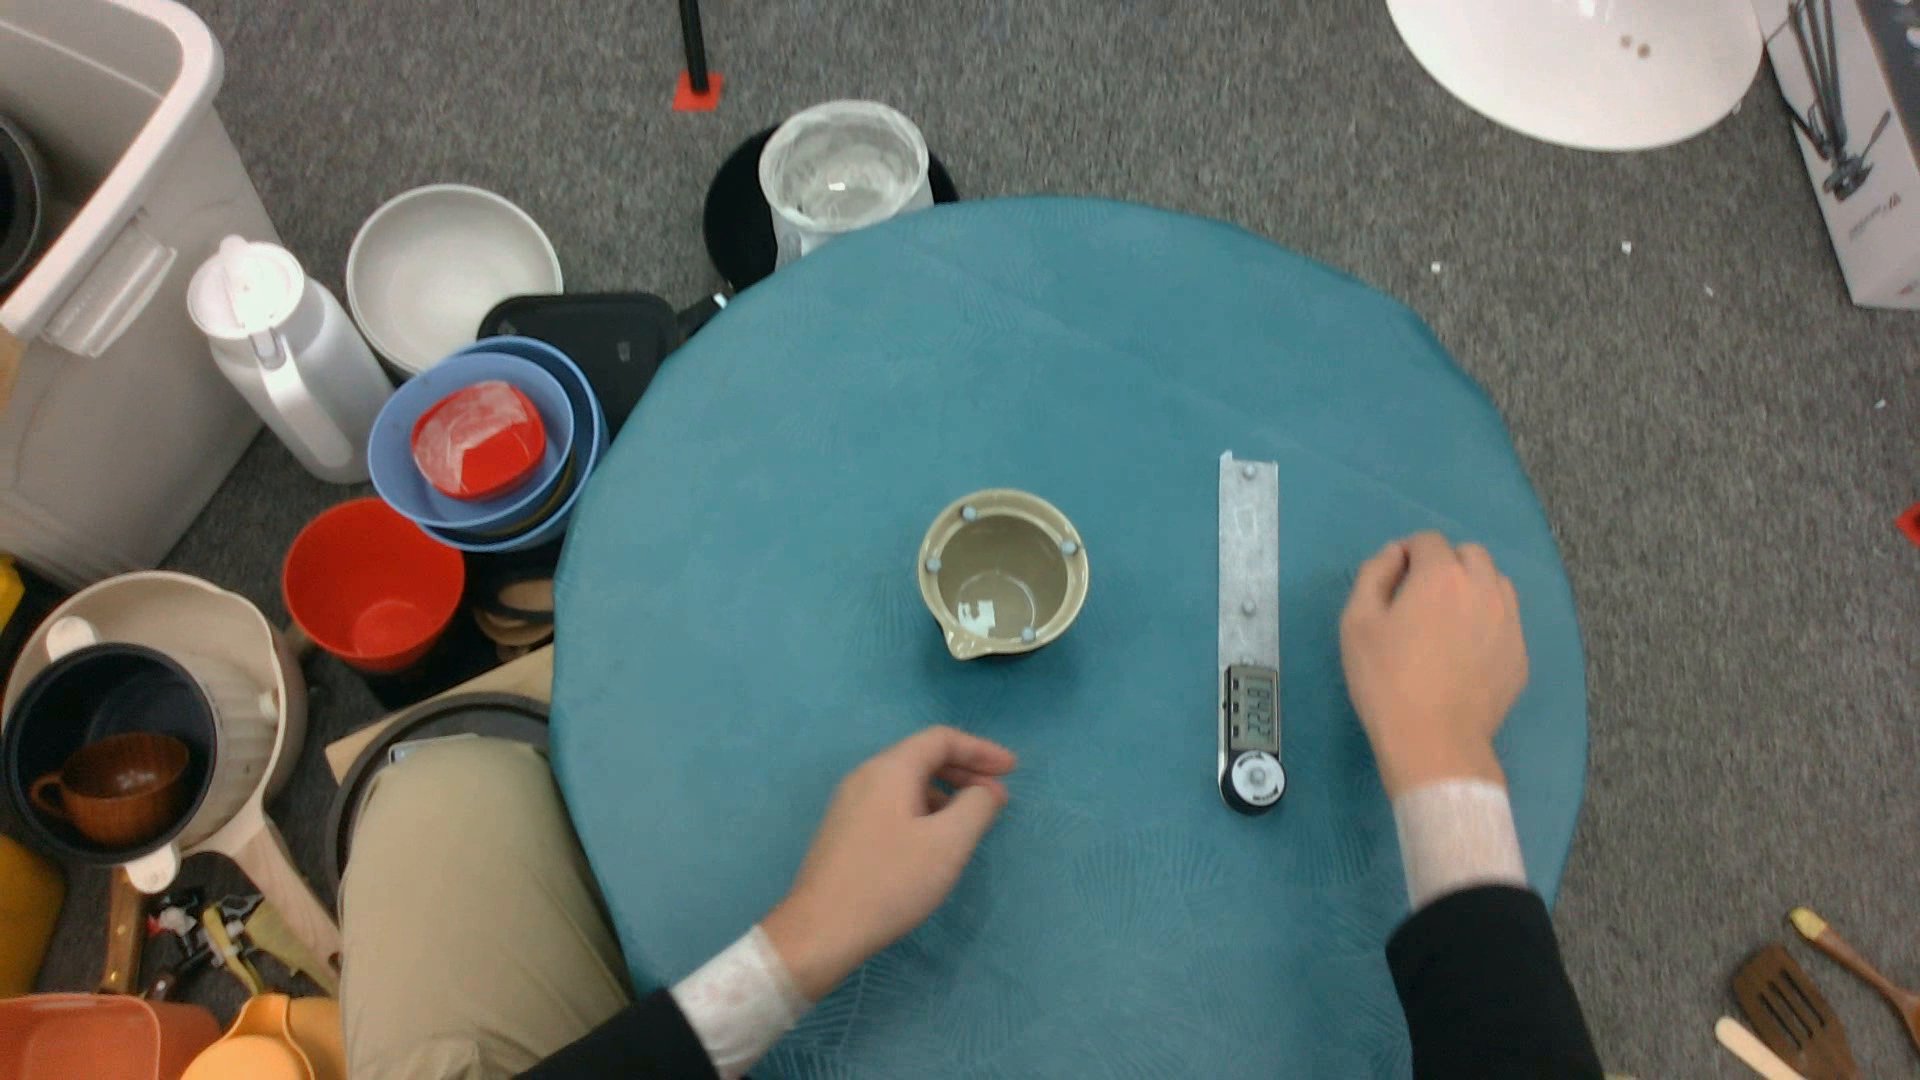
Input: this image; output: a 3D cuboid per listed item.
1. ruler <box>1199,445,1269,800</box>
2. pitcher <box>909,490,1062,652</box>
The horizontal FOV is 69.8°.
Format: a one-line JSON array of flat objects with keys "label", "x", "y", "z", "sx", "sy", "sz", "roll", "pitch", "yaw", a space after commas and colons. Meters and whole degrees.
[{"label": "ruler", "x": 0.161, "y": 0.040, "z": 0.798, "sx": 0.038, "sy": 0.024, "sz": 0.219, "roll": 8, "pitch": 67, "yaw": -6}, {"label": "pitcher", "x": 0.010, "y": 0.027, "z": 0.766, "sx": 0.083, "sy": 0.071, "sz": 0.096, "roll": 27, "pitch": 66, "yaw": 7}]
